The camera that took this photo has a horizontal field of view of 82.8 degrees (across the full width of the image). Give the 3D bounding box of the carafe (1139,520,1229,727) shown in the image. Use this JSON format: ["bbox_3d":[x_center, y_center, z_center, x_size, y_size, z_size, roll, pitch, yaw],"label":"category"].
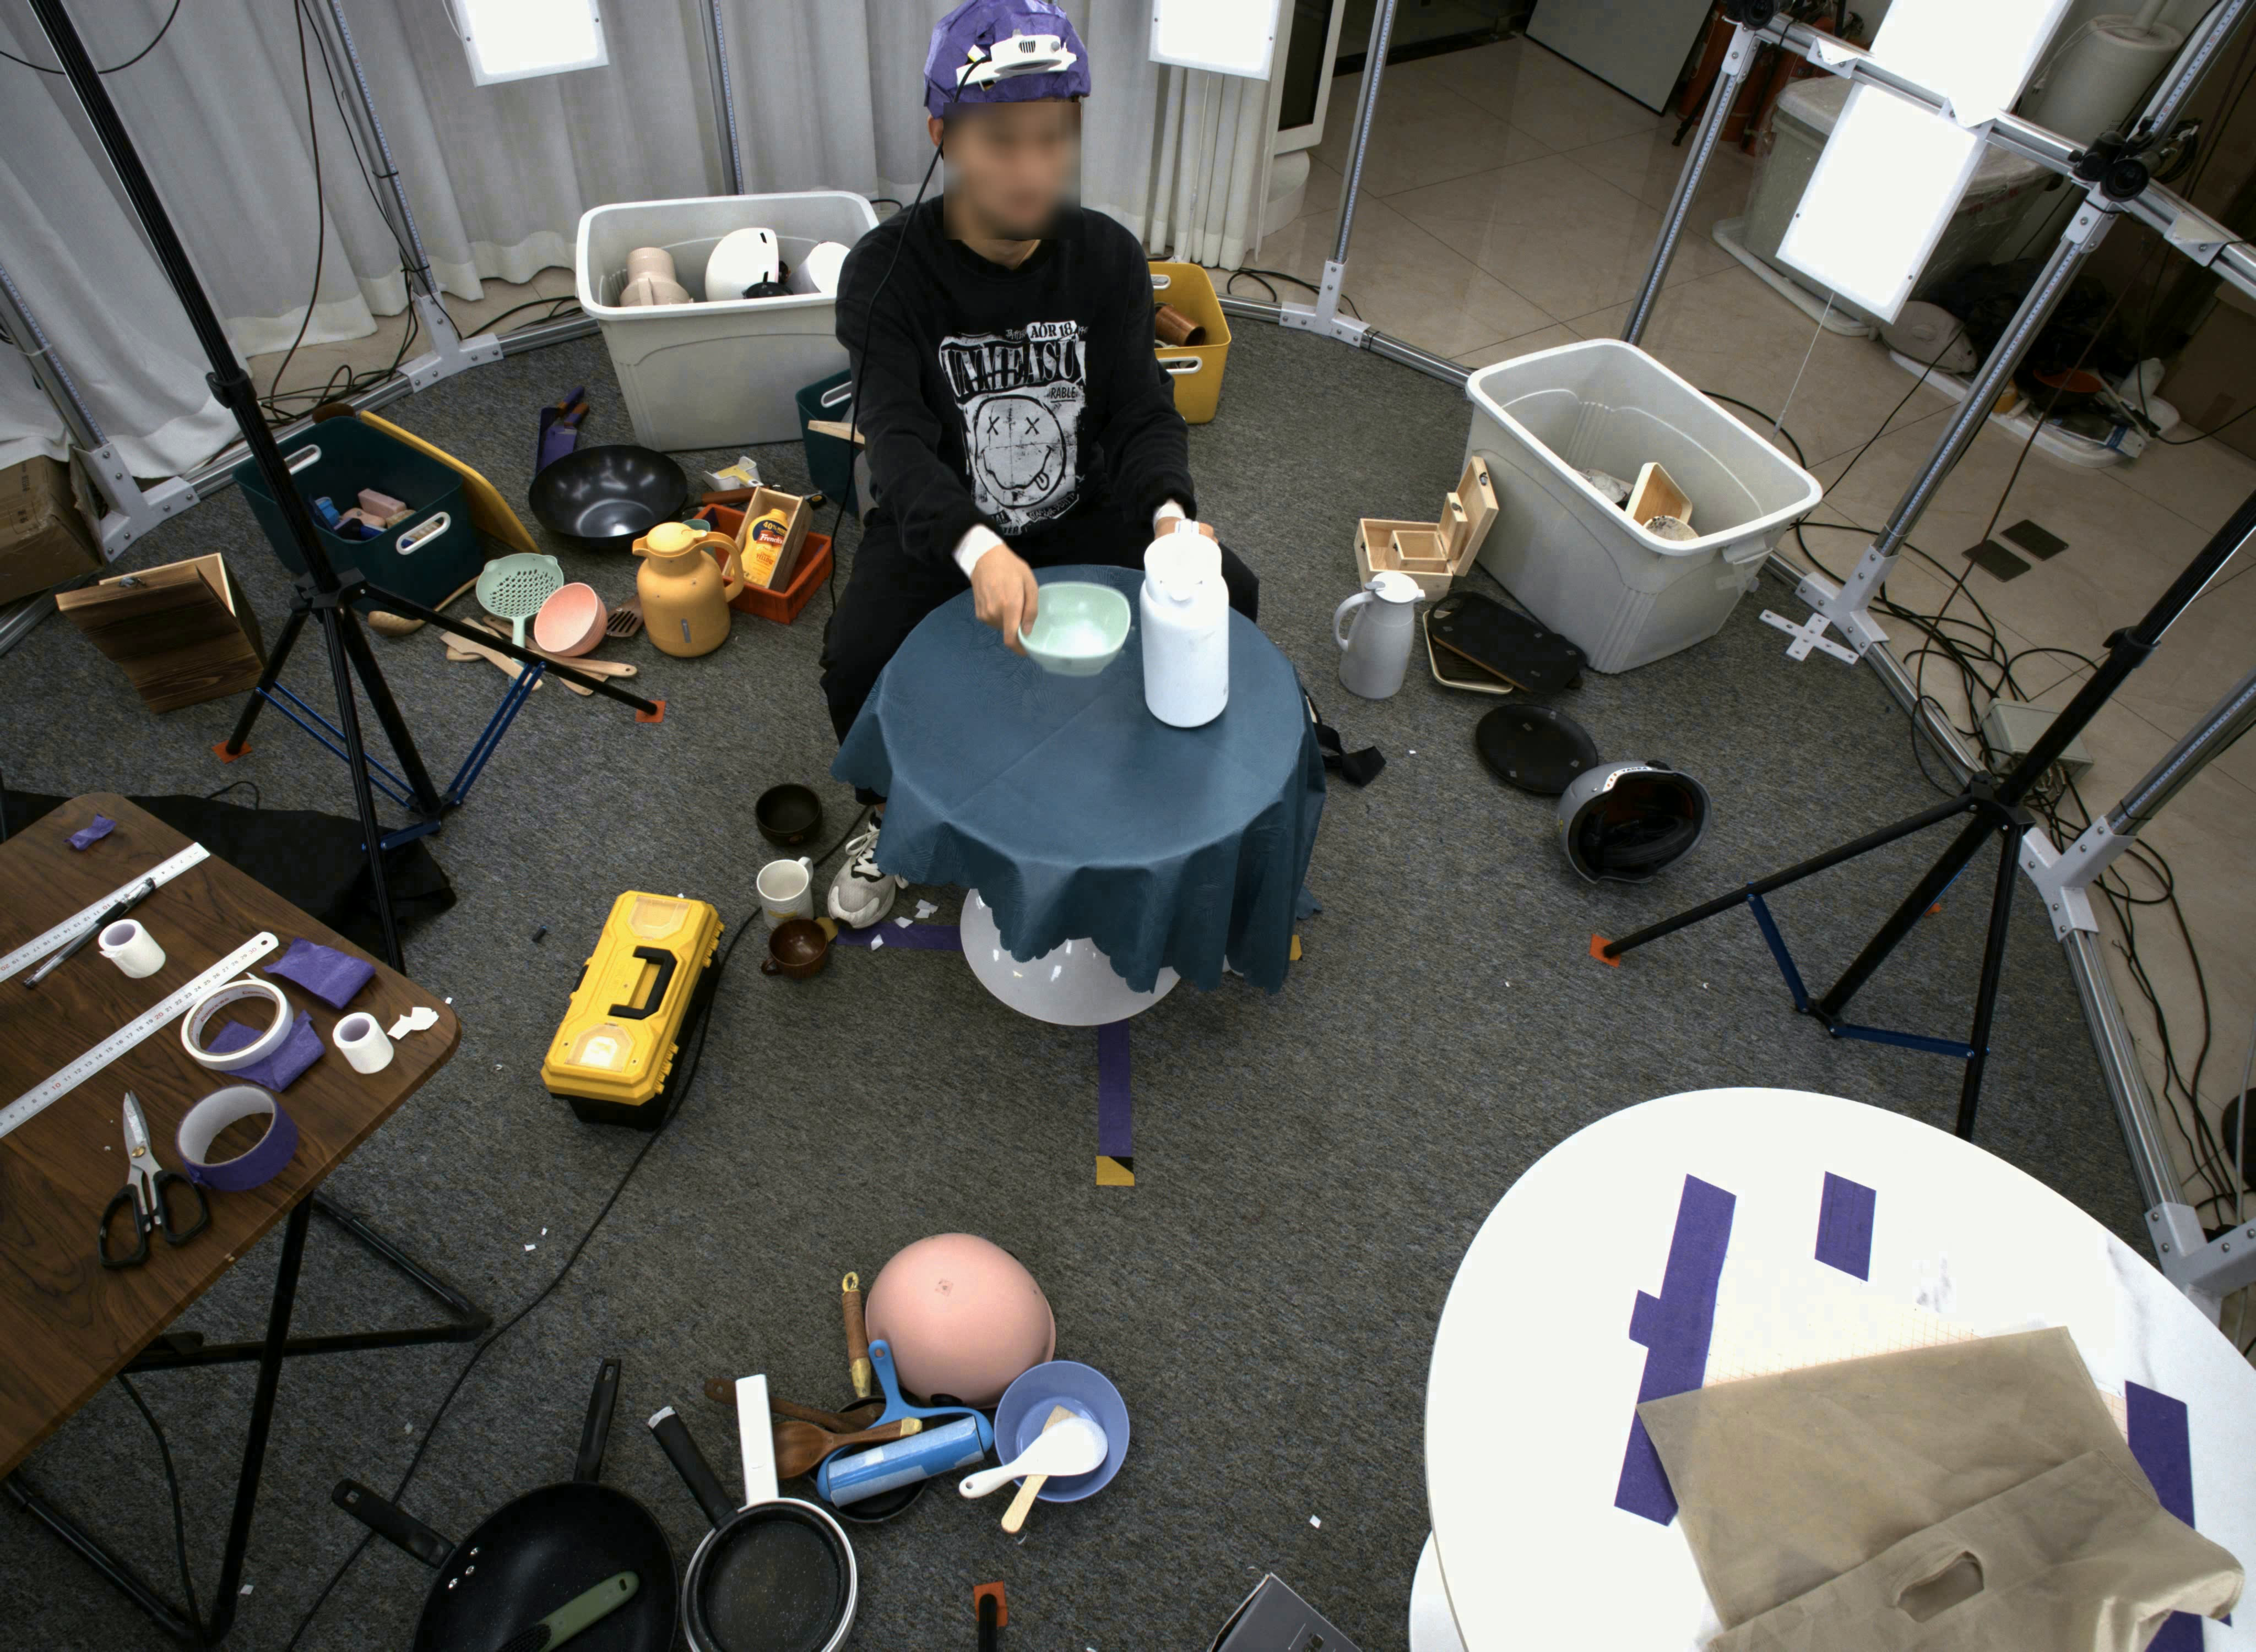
[{"bbox_3d":[0.076,-0.275,1.734,0.124,0.262,0.177,-1,51,6],"label":"carafe"}]

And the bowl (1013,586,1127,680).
[{"bbox_3d":[-0.071,-0.232,1.605,0.151,0.057,0.155,0,49,0],"label":"bowl"}]
